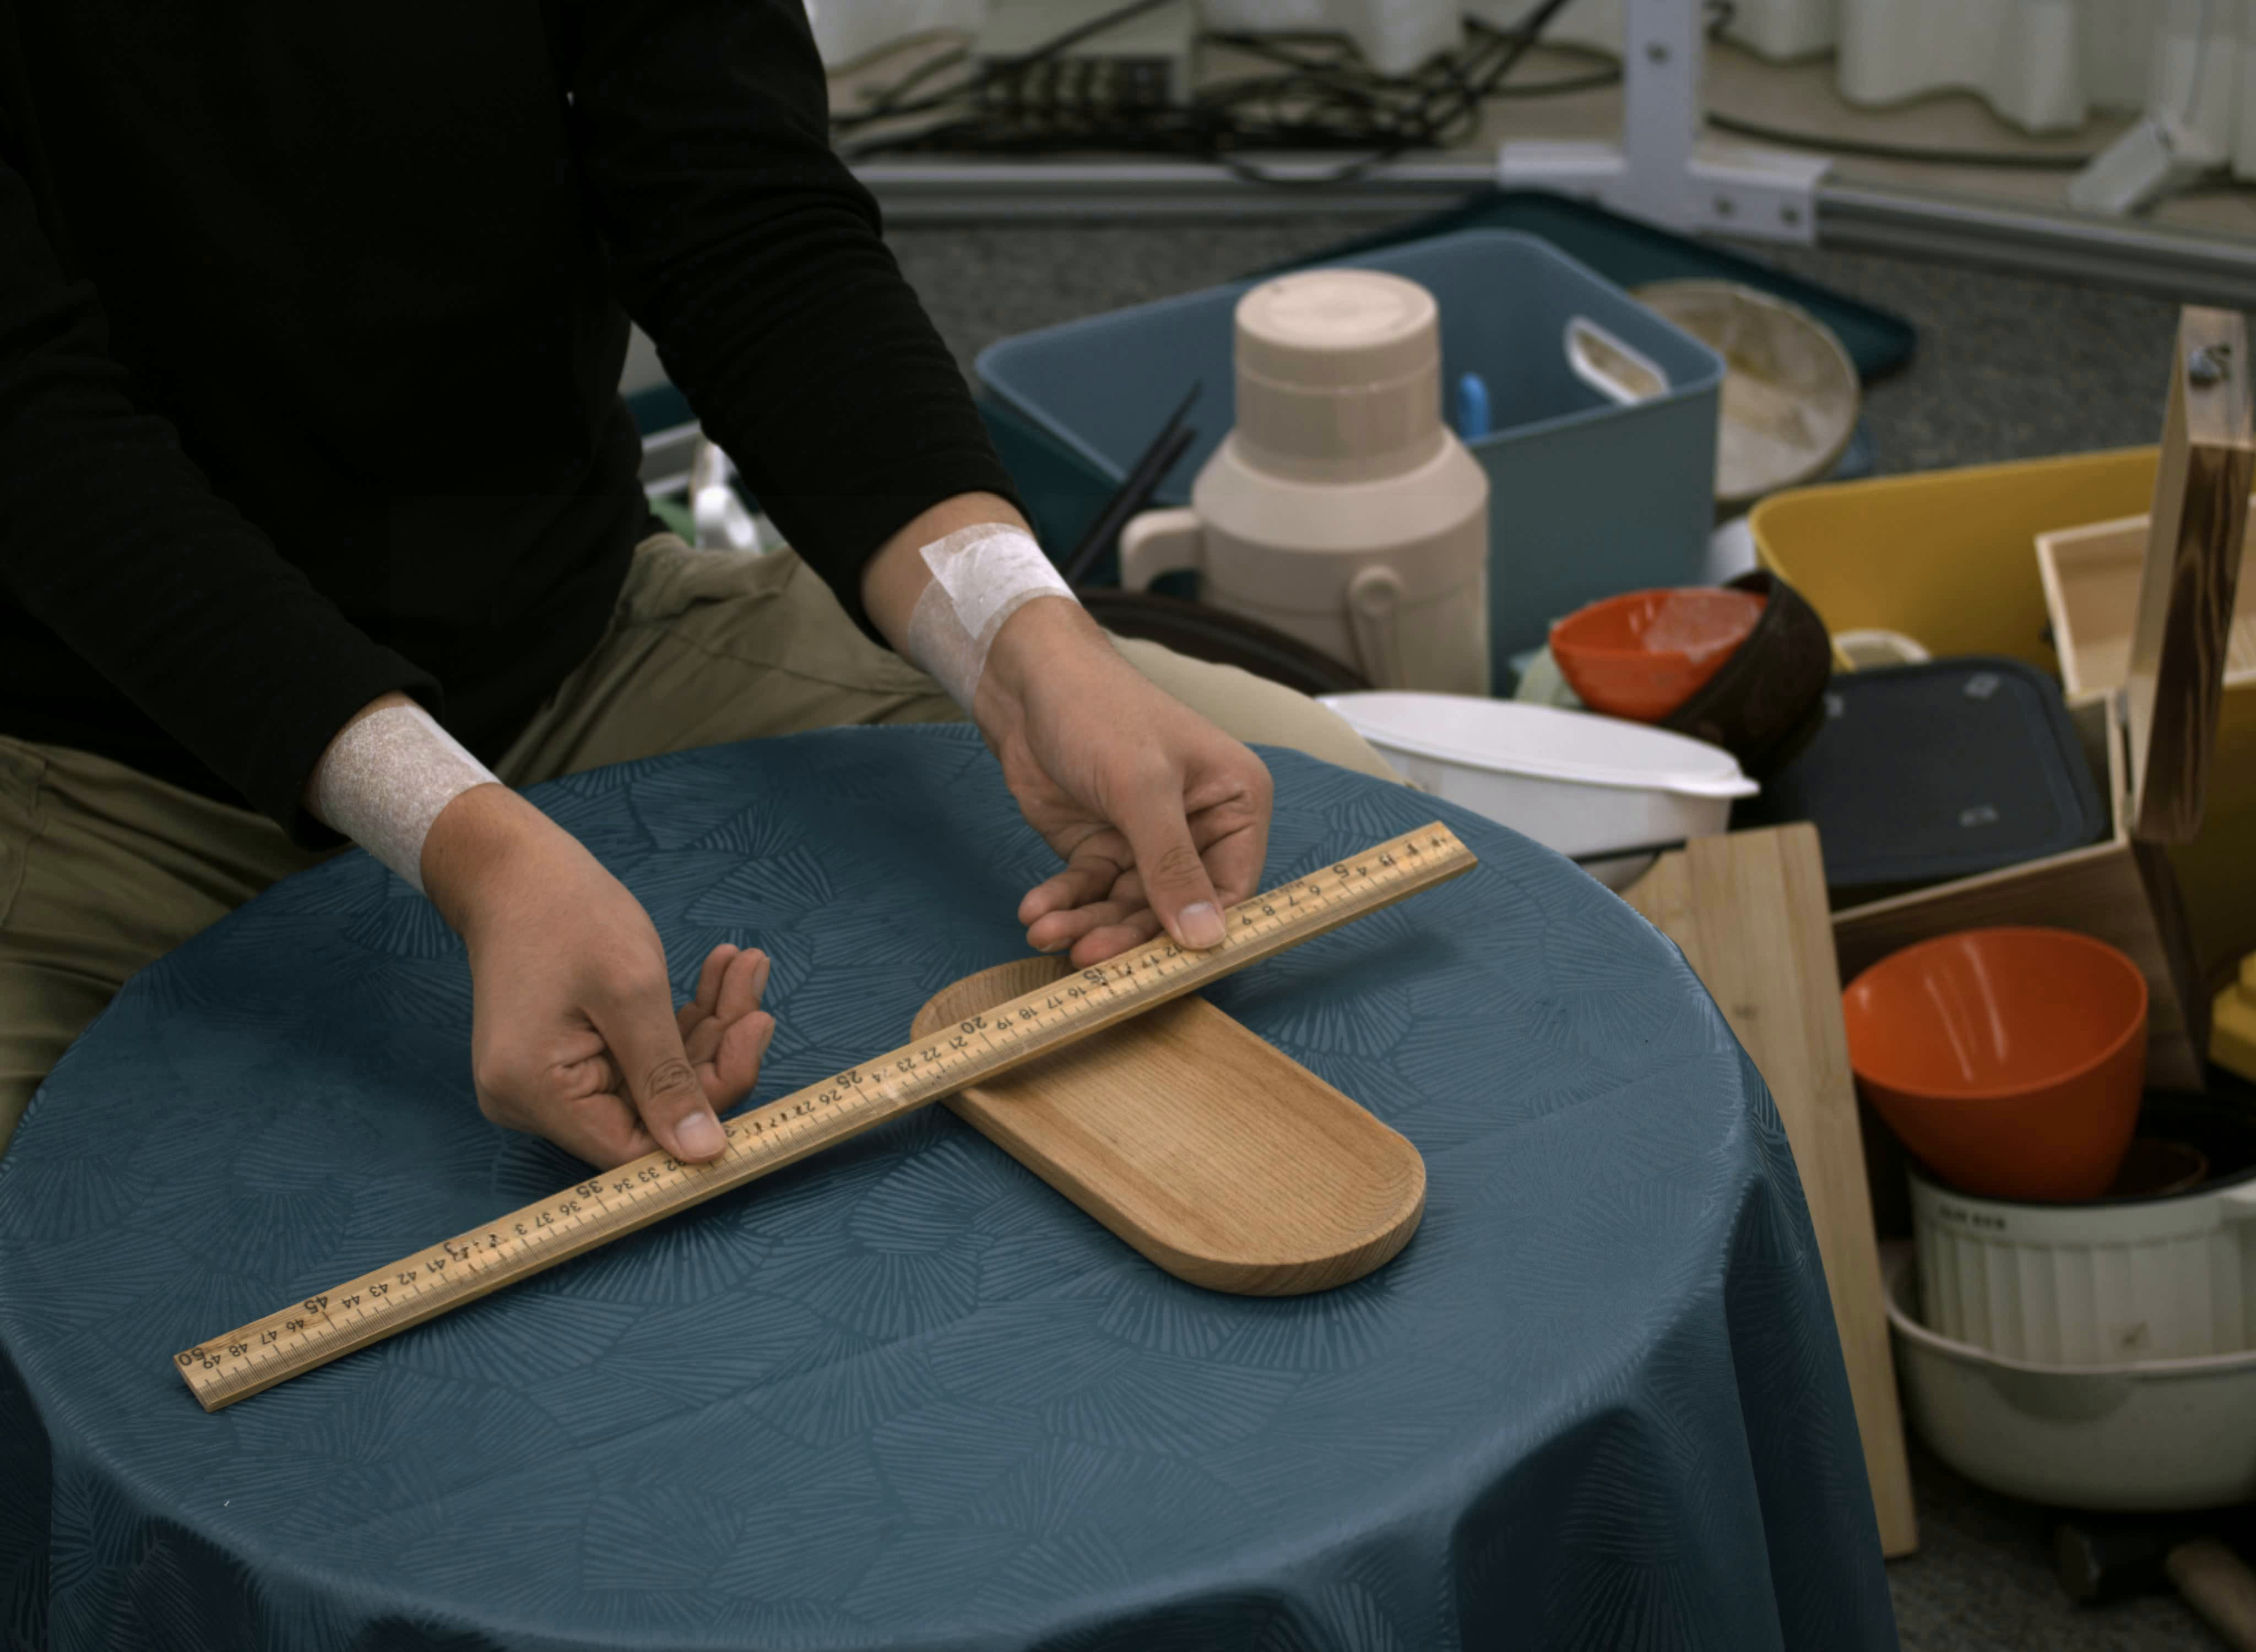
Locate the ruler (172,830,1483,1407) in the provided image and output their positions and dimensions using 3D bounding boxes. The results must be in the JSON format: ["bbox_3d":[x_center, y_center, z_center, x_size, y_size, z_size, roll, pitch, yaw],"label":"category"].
[{"bbox_3d":[-0.090,0.092,1.887,0.504,0.006,0.027,-22,46,-27],"label":"ruler"}]

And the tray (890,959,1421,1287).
[{"bbox_3d":[0.007,0.098,1.887,0.102,0.020,0.231,-19,30,-31],"label":"tray"}]
